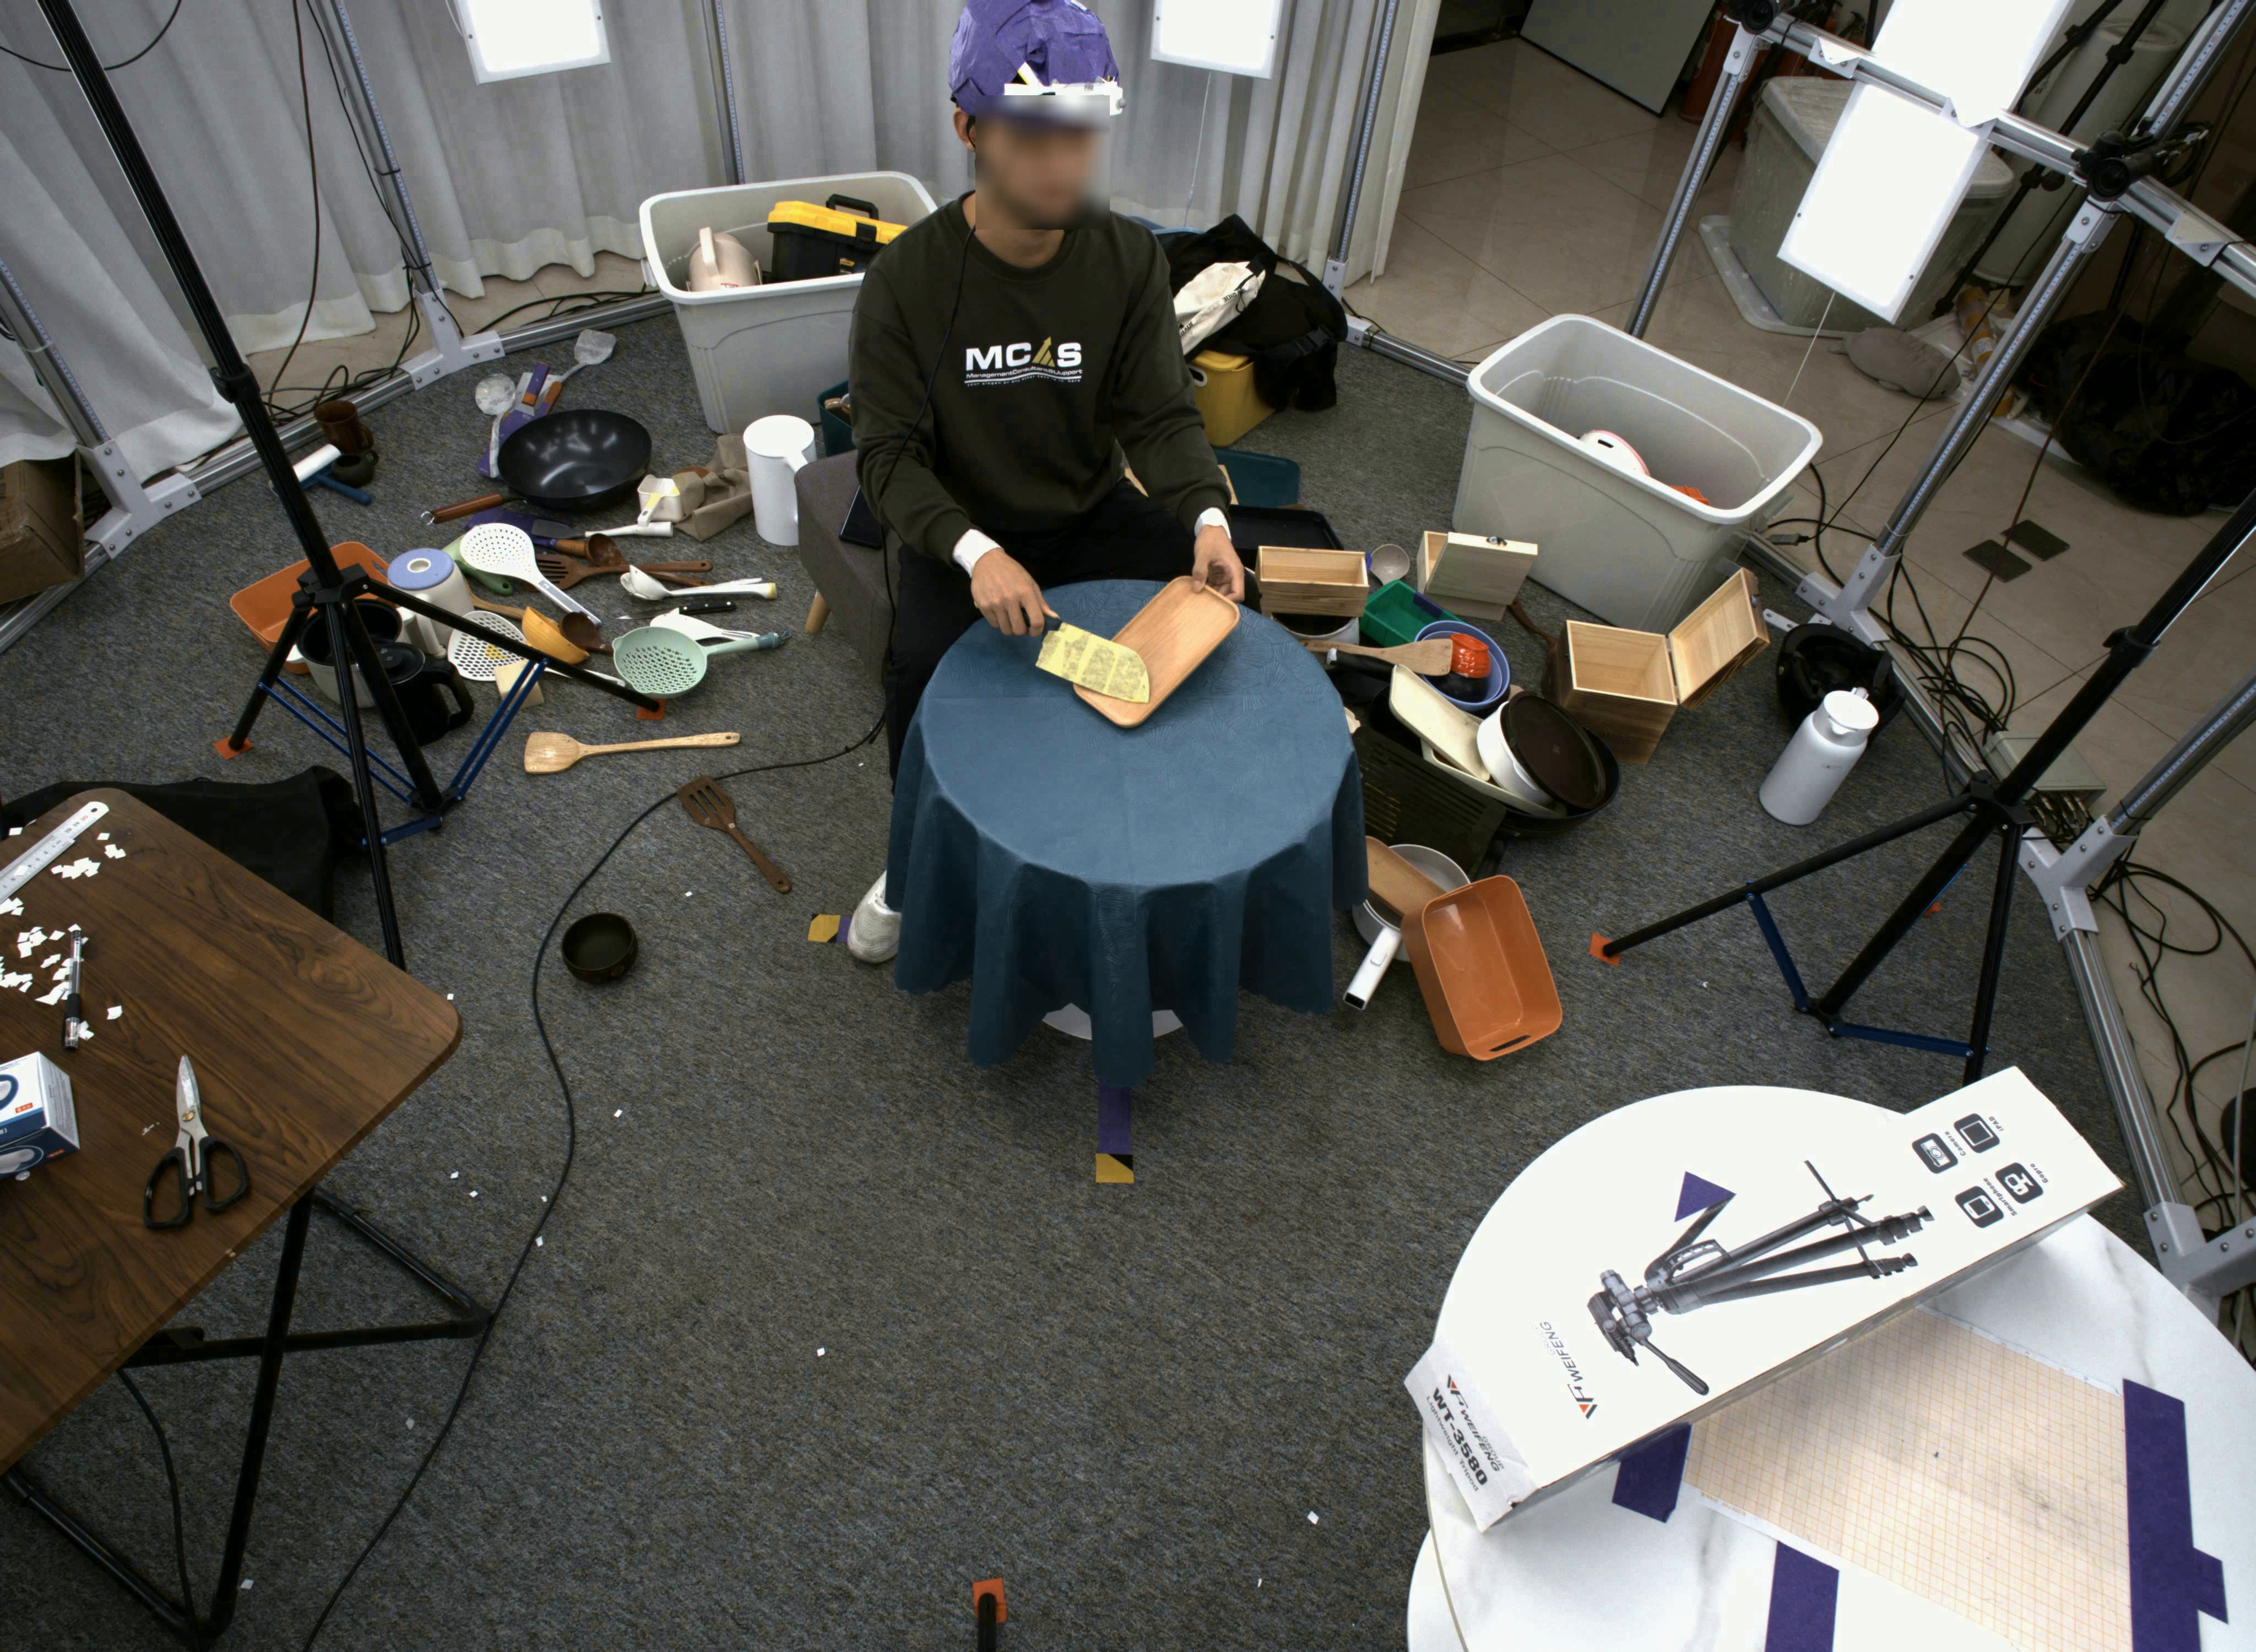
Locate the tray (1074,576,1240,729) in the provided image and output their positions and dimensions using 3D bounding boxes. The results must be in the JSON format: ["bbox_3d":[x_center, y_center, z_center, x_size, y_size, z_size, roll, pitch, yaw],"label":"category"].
[{"bbox_3d":[0.043,-0.248,1.827,0.132,0.022,0.252,37,75,28],"label":"tray"}]

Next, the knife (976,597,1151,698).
[{"bbox_3d":[-0.094,-0.255,1.824,0.291,0.027,0.081,26,94,15],"label":"knife"}]
